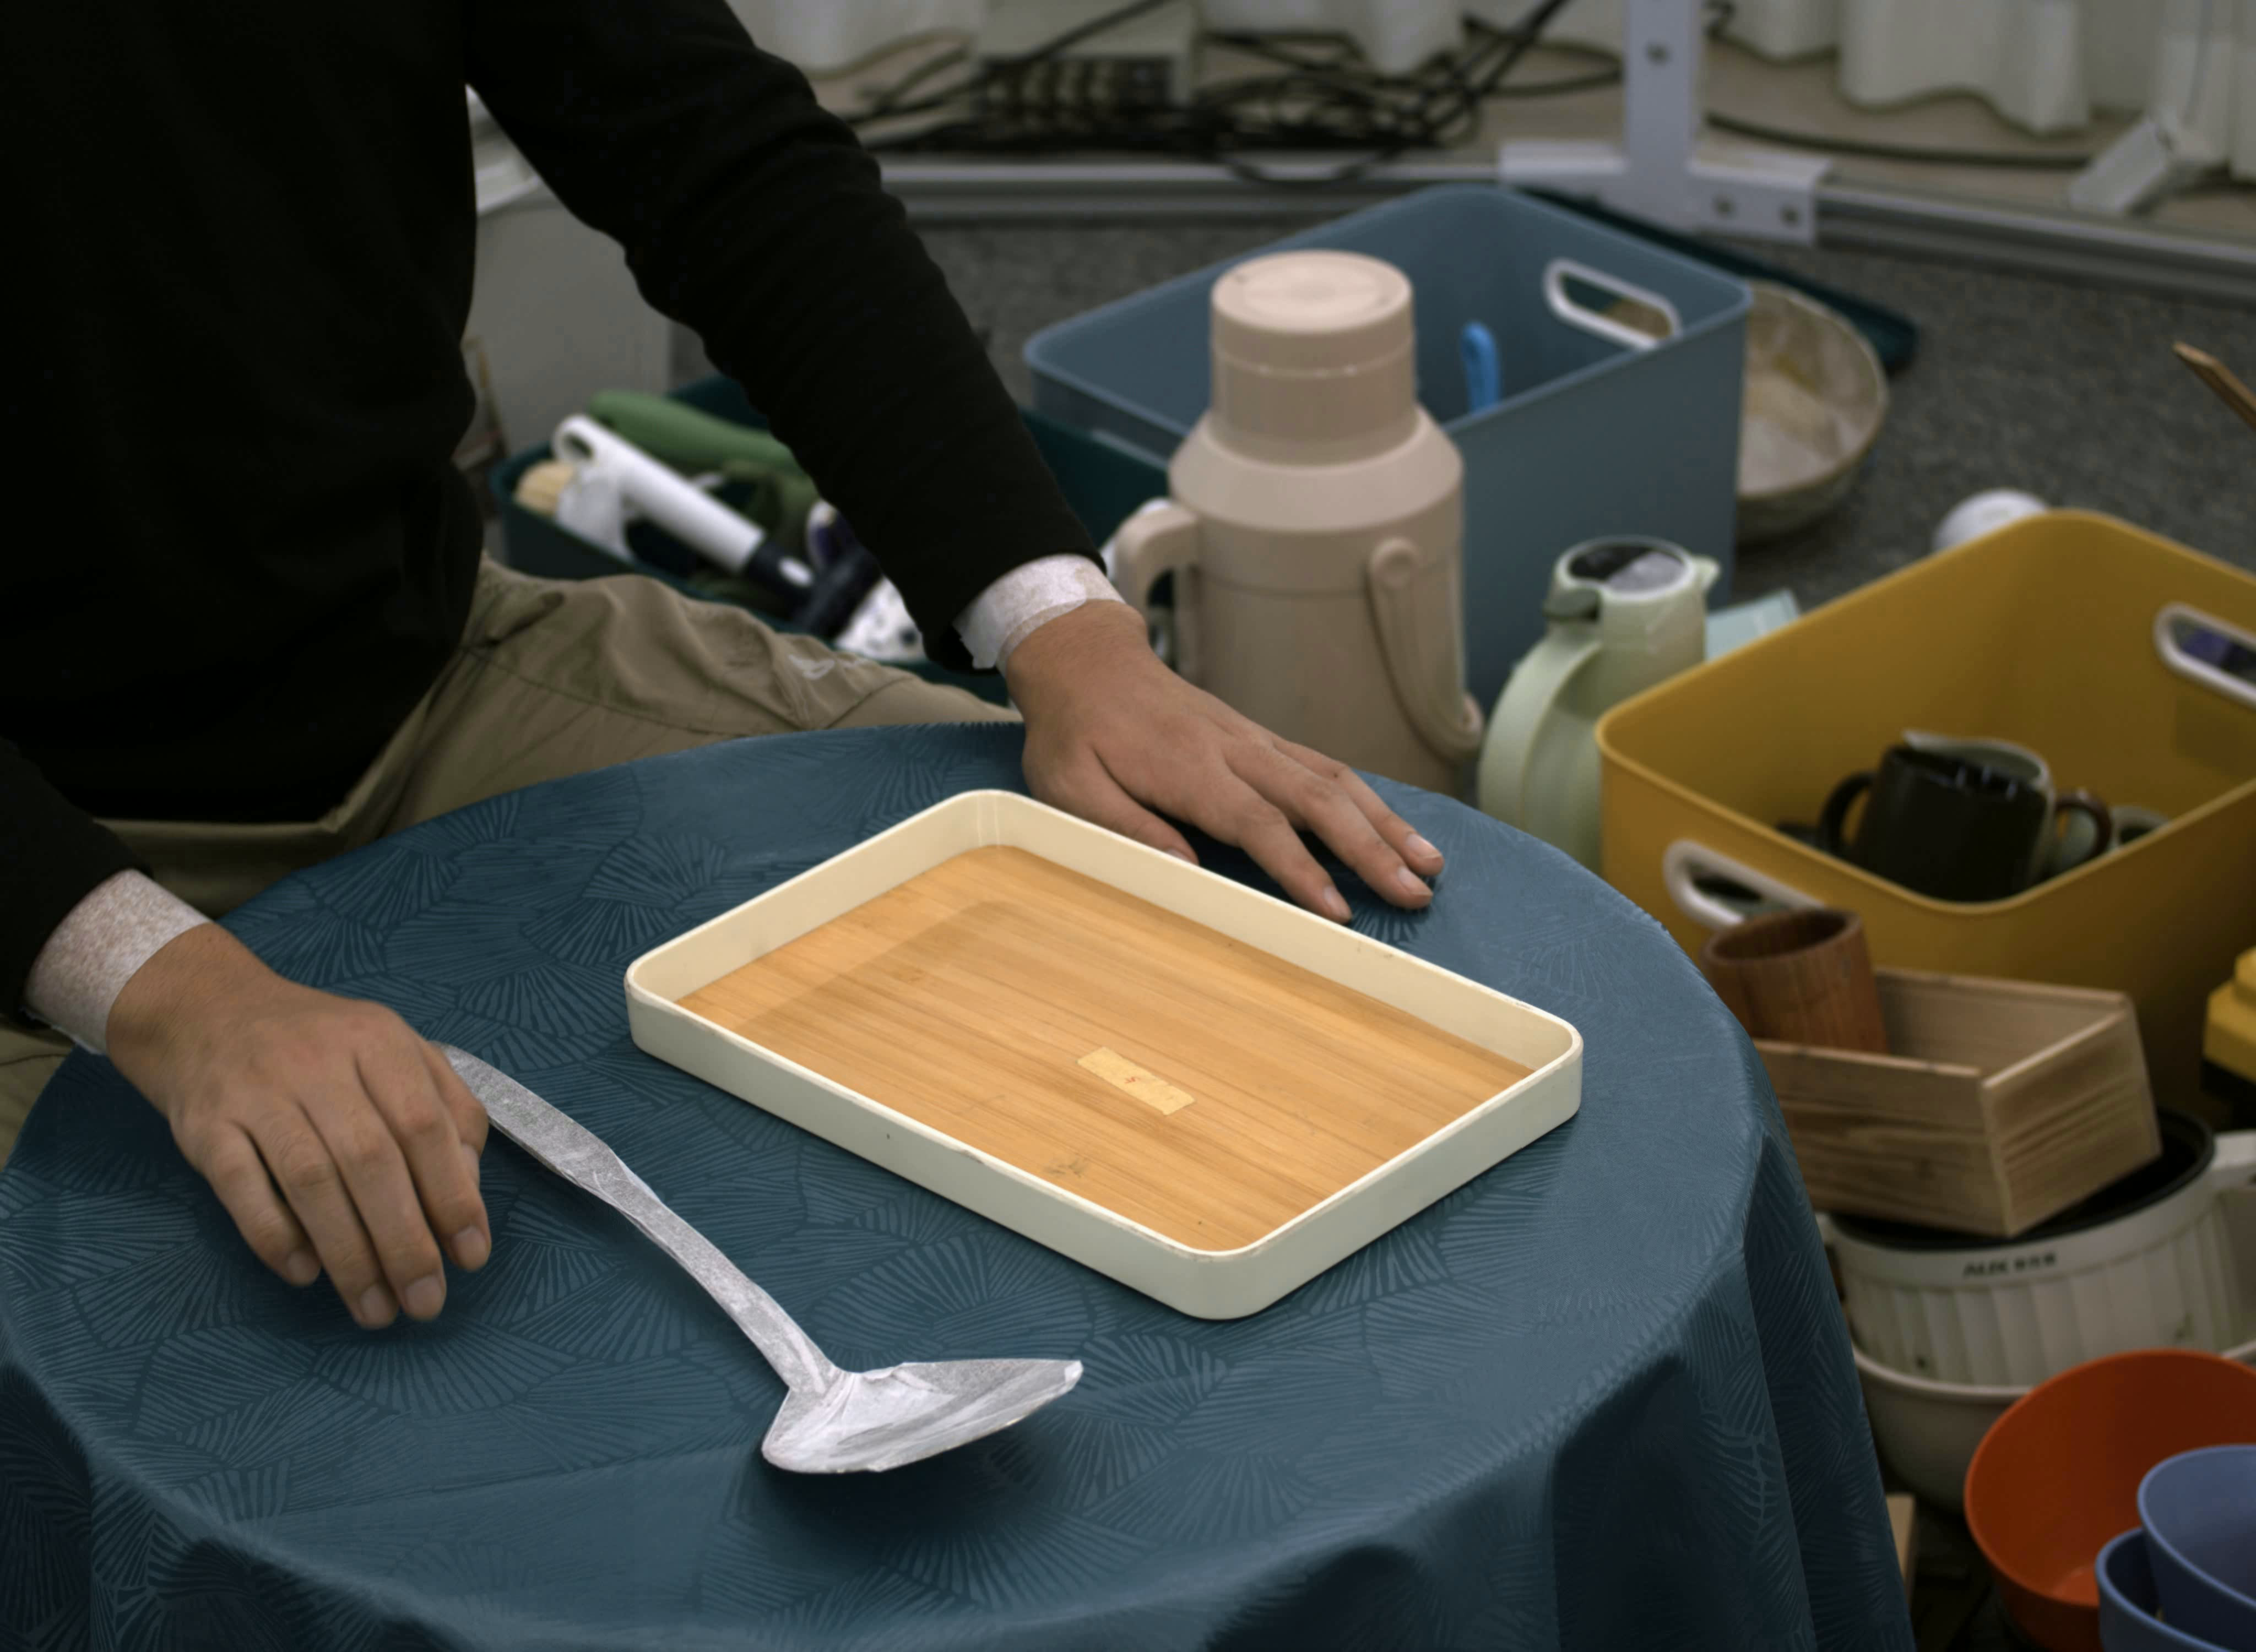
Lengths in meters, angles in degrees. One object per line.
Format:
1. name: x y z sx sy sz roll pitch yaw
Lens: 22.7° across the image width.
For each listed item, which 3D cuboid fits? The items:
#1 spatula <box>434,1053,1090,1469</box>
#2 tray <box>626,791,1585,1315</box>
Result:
1. spatula: -0.142 0.132 1.814 0.099 0.044 0.366 -19 32 -29
2. tray: -0.010 0.073 1.927 0.300 0.027 0.194 22 36 40
